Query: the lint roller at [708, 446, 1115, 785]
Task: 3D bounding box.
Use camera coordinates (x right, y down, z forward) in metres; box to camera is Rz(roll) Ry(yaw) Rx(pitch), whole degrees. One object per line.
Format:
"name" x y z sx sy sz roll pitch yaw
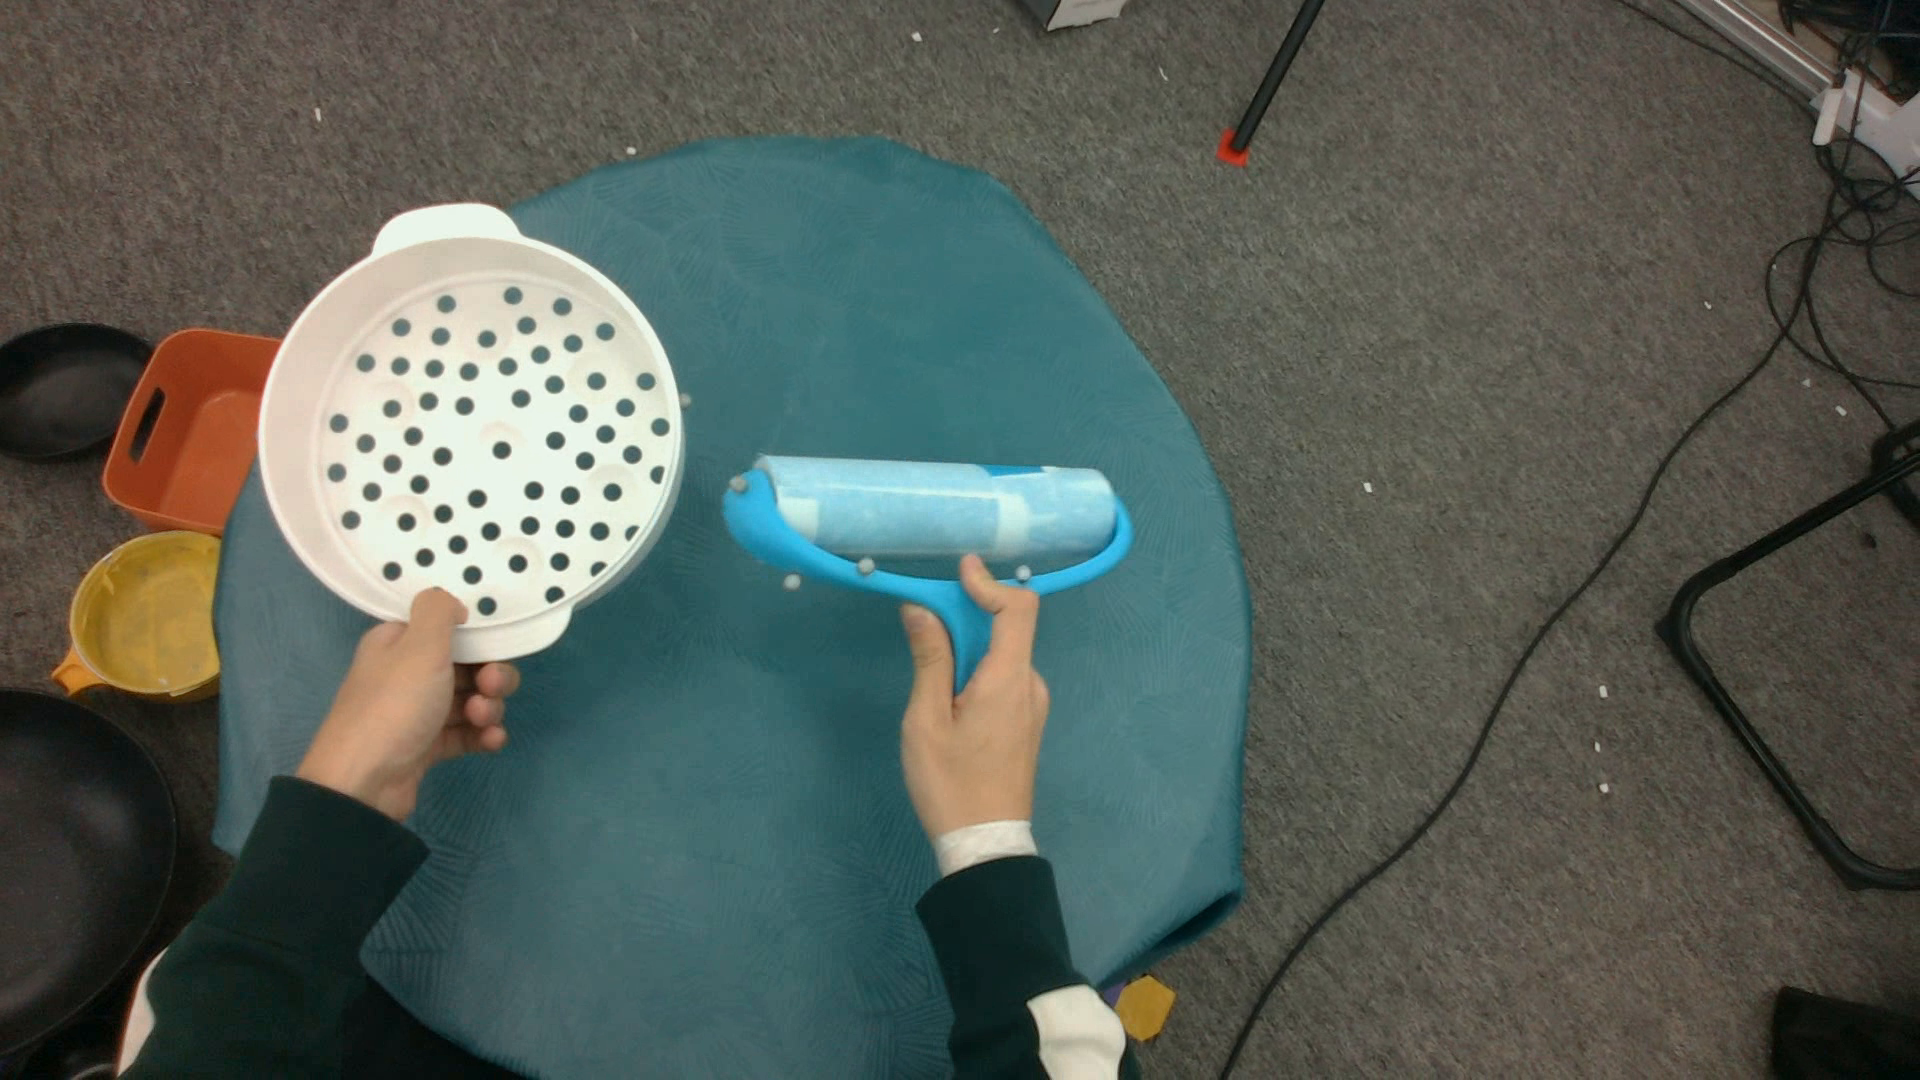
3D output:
"lint roller" -0.010 0.034 0.725 0.229 0.067 0.180 -4 74 -27

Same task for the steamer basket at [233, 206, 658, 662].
"steamer basket" -0.259 -0.053 0.712 0.202 0.069 0.230 -11 85 -6
